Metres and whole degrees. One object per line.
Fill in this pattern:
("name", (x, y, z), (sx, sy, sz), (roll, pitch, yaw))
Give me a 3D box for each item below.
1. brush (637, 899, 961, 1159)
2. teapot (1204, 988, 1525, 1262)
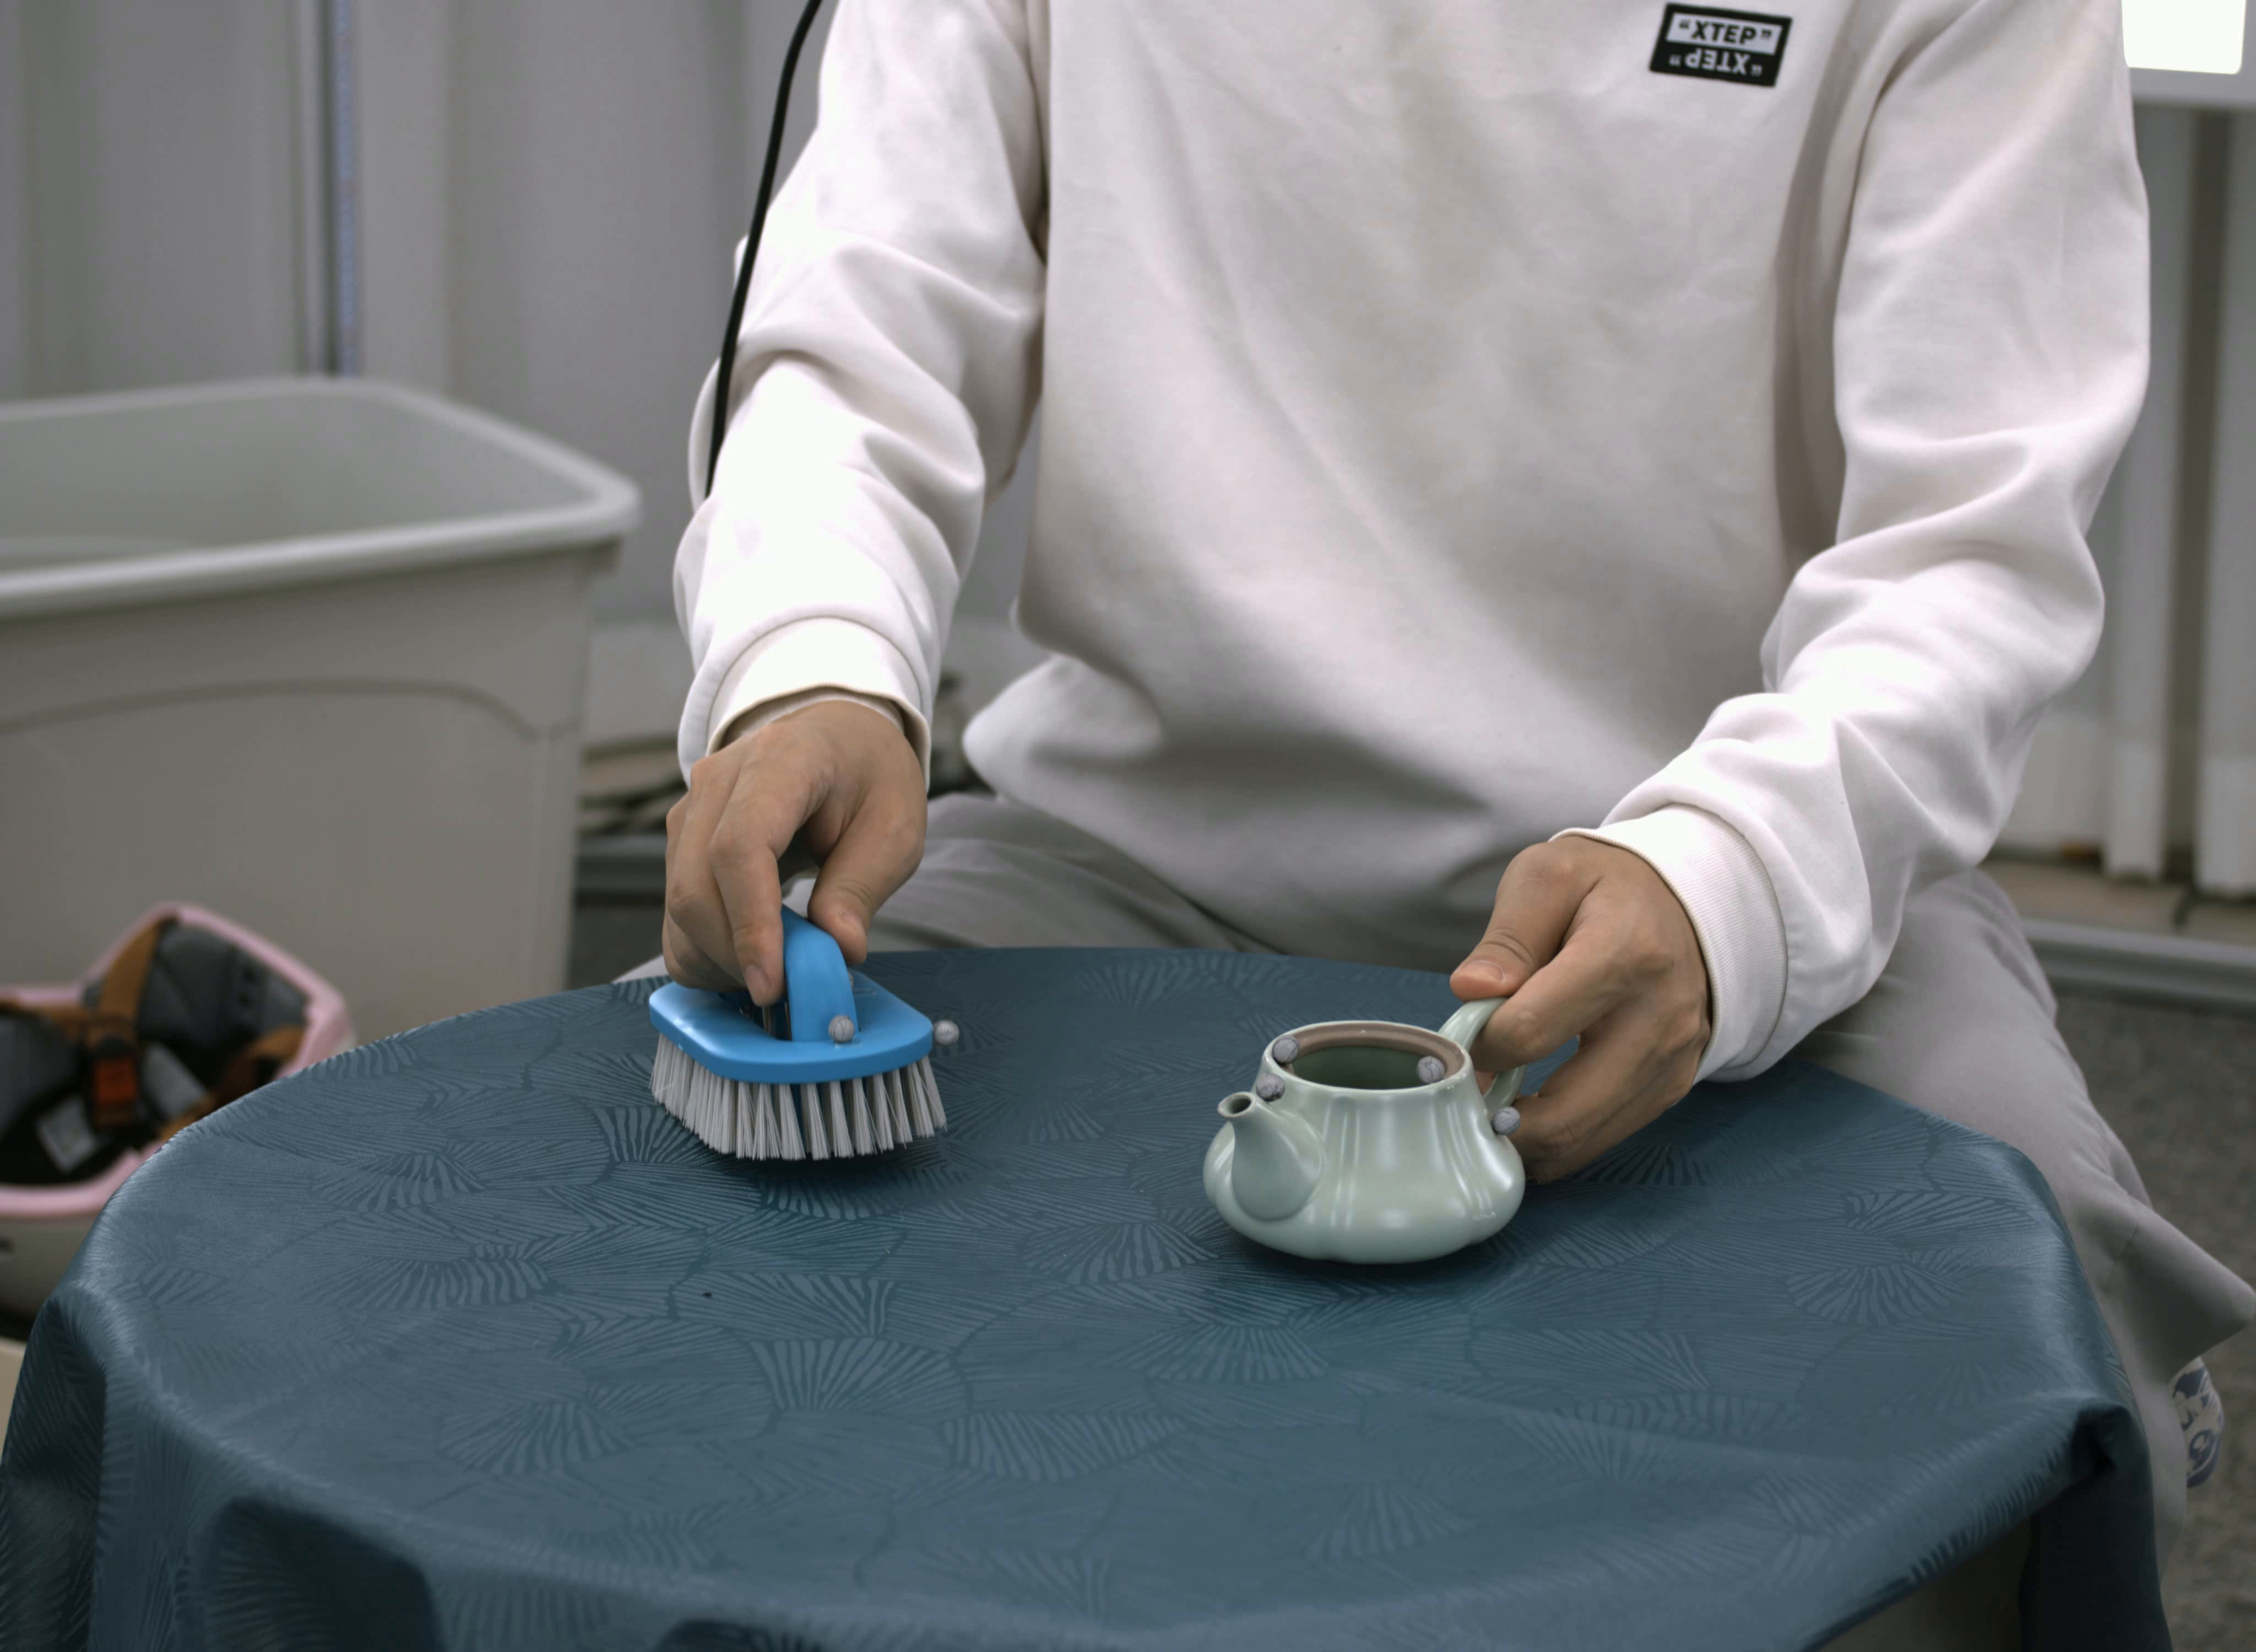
("brush", (-0.109, 0.058, 1.676), (0.084, 0.064, 0.140), (-13, 13, -18))
("teapot", (0.074, 0.092, 1.586), (0.095, 0.062, 0.137), (15, 24, 38))
